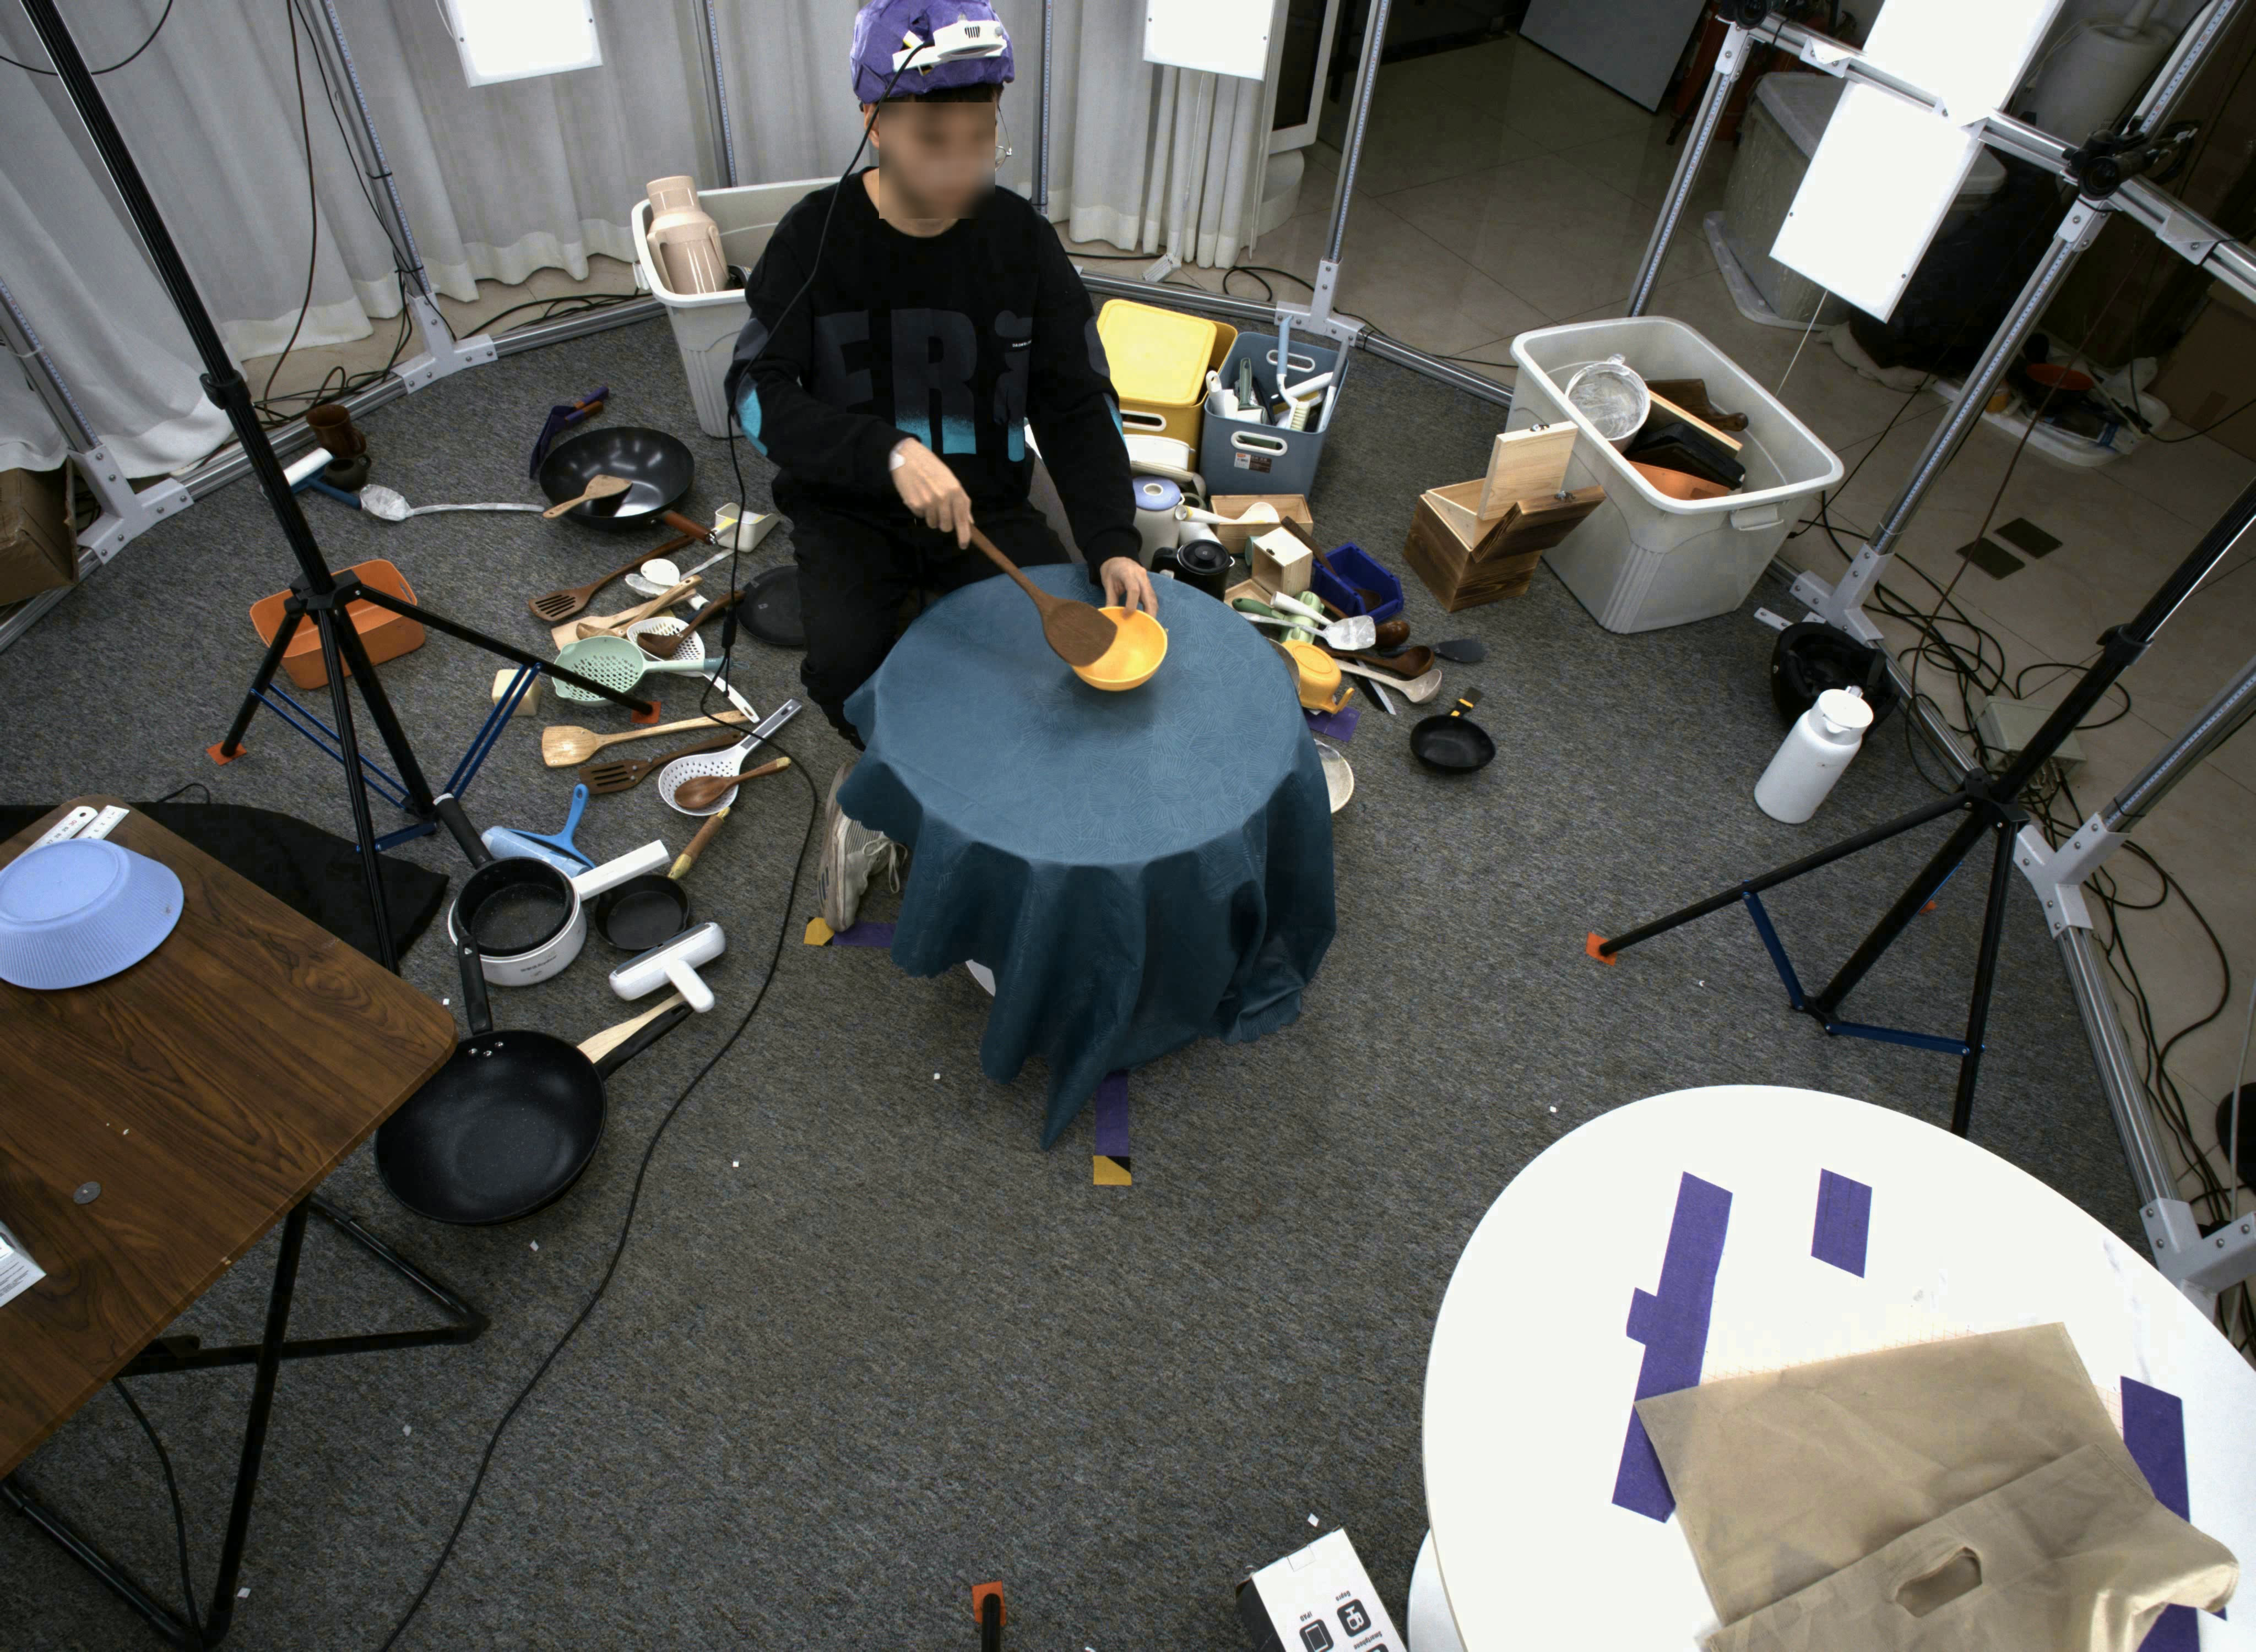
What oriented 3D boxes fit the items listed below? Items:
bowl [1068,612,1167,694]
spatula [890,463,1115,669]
[{"bbox_3d":[-0.017,-0.236,1.841,0.145,0.058,0.149,0,51,0],"label":"bowl"},{"bbox_3d":[-0.178,-0.364,1.771,0.386,0.015,0.097,42,65,-1],"label":"spatula"}]
